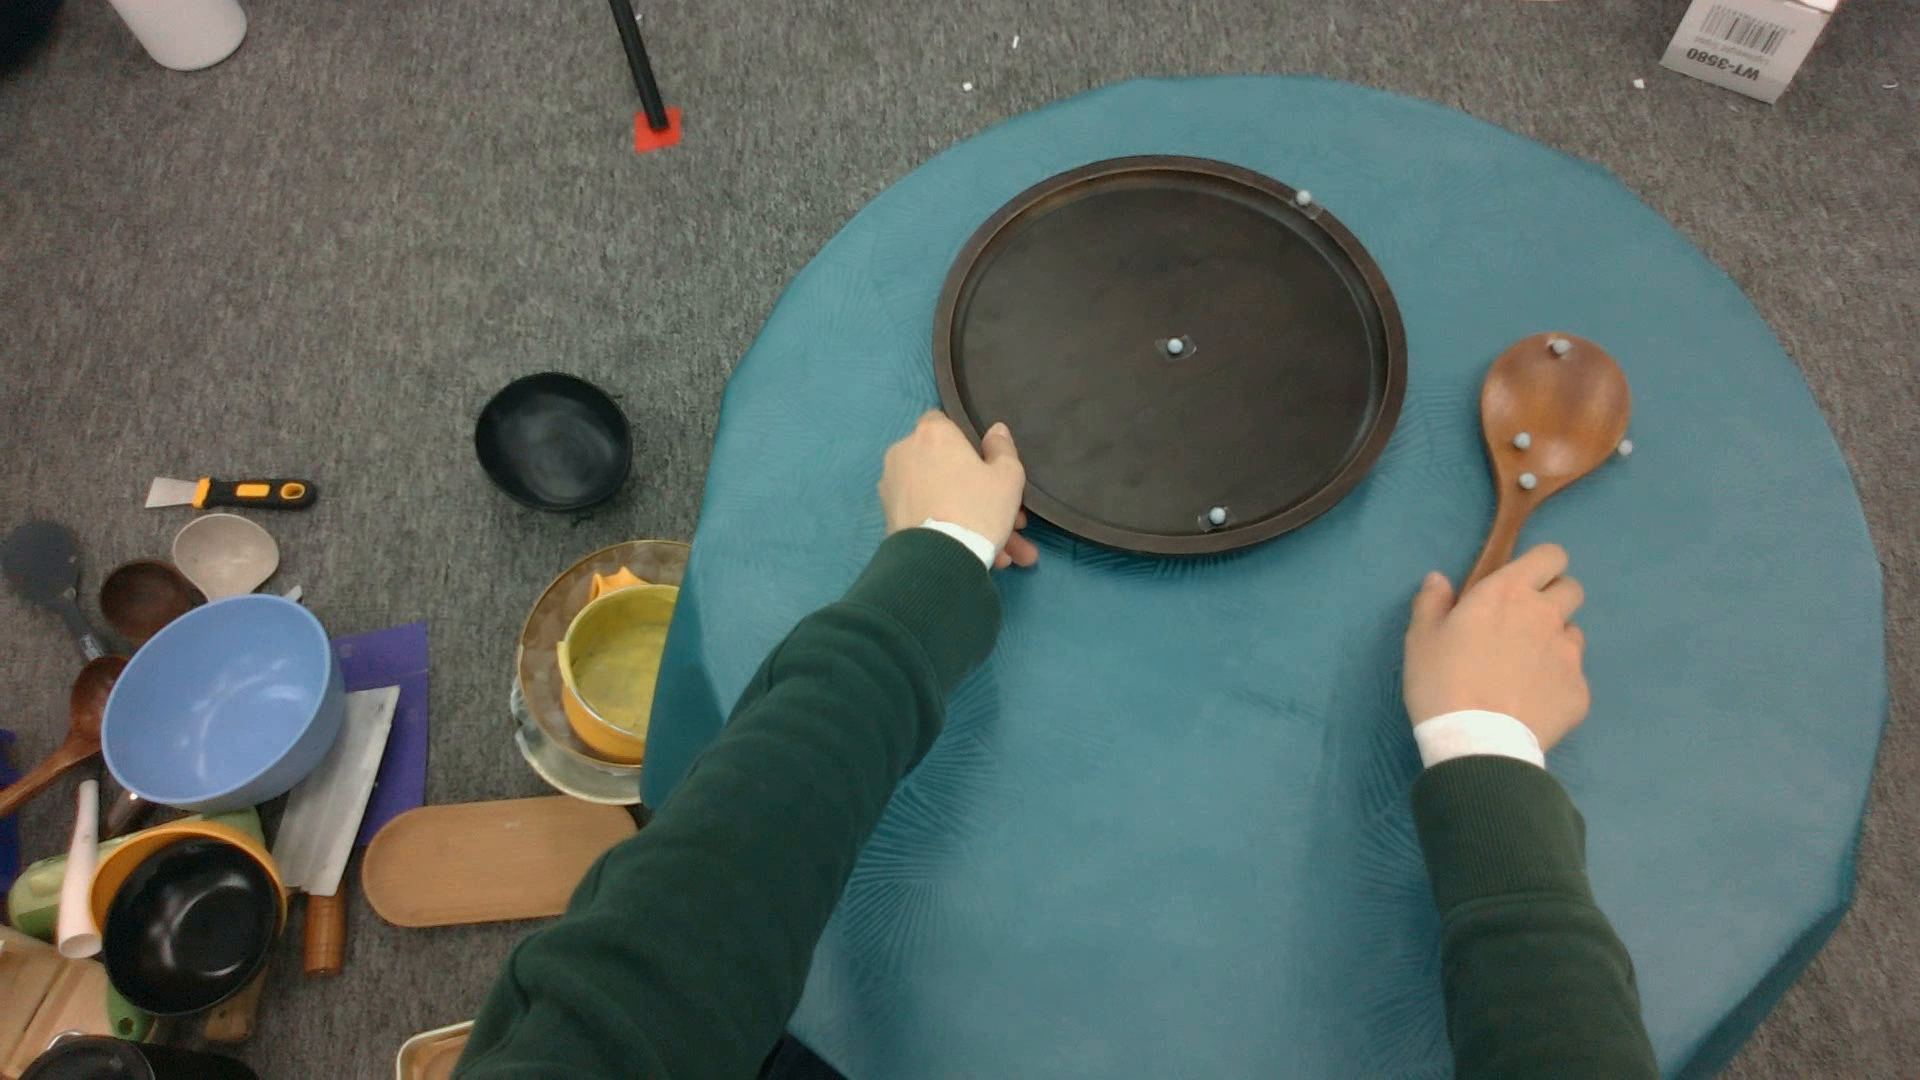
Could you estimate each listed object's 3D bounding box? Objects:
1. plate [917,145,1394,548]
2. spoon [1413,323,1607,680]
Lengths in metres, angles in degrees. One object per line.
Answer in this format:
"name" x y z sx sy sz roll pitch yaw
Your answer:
"plate" 0.103 -0.109 0.743 0.255 0.029 0.256 0 63 1
"spoon" 0.273 -0.023 0.702 0.075 0.017 0.216 23 67 11
